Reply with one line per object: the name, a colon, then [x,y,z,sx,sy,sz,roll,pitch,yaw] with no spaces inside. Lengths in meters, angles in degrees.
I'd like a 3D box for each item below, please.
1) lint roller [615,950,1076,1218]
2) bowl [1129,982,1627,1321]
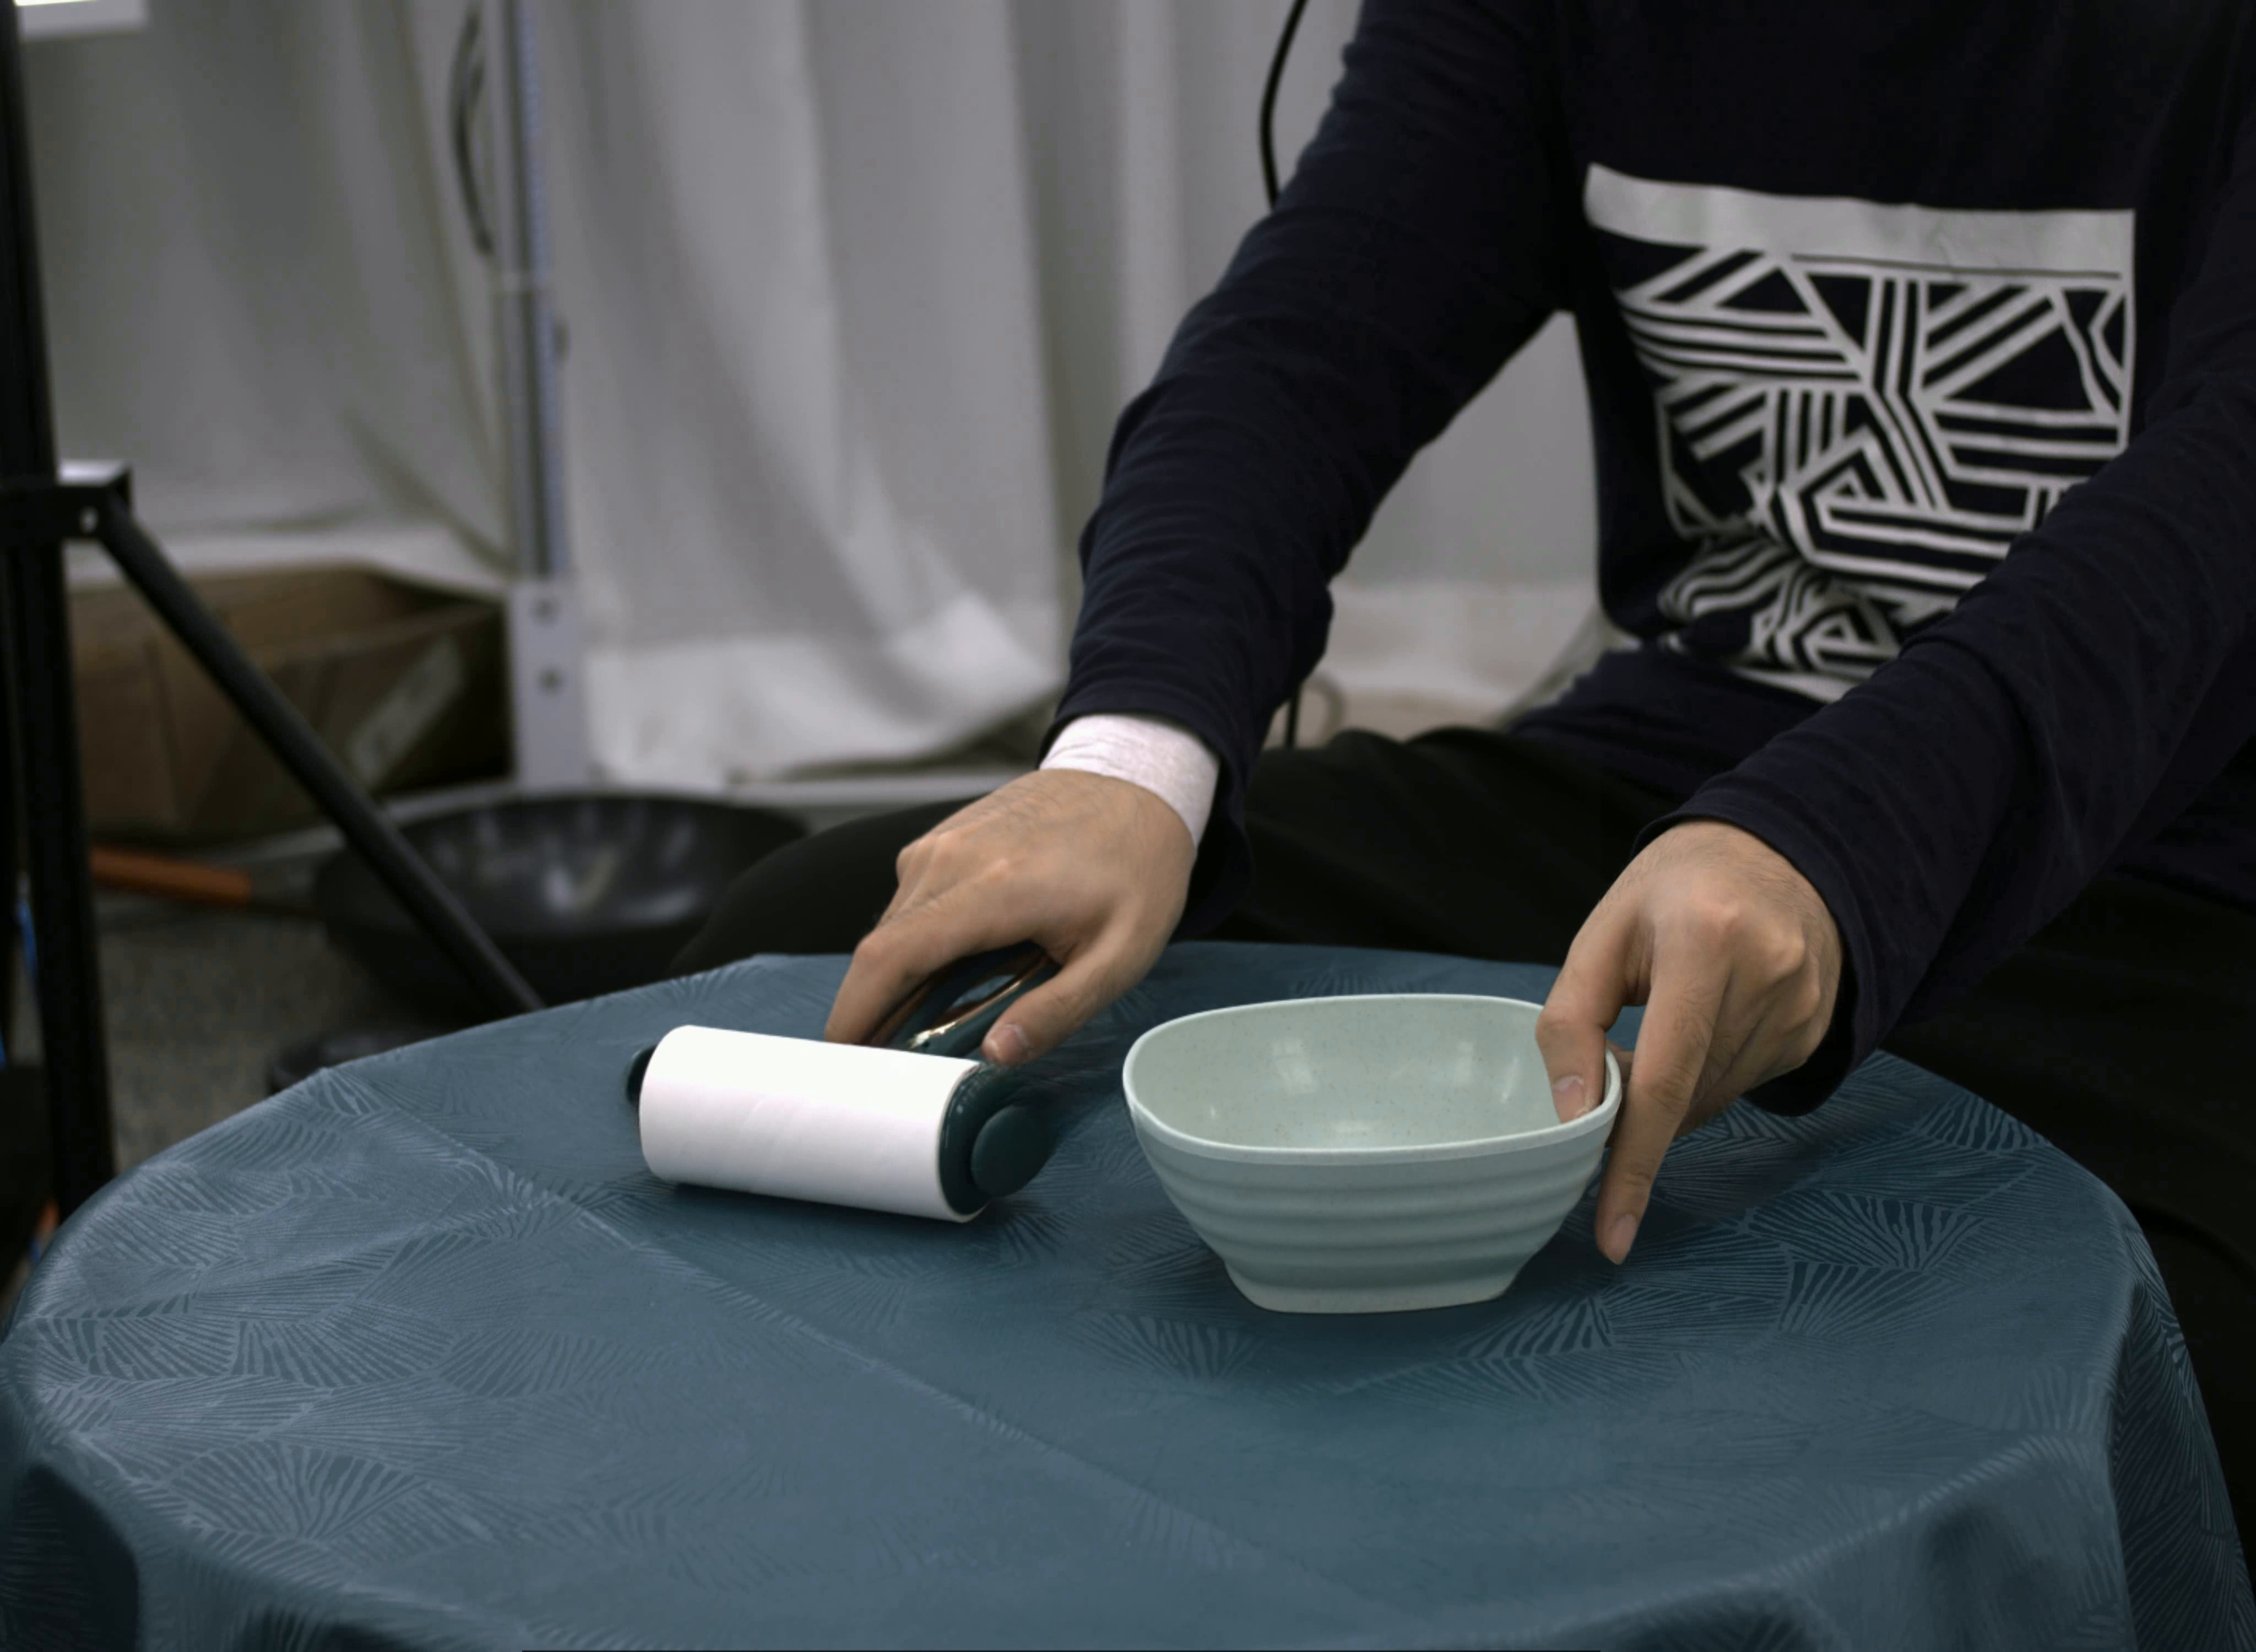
lint roller: [-0.062,0.059,1.616,0.136,0.048,0.178,5,27,26]
bowl: [0.071,0.095,1.491,0.151,0.058,0.152,-4,18,0]
